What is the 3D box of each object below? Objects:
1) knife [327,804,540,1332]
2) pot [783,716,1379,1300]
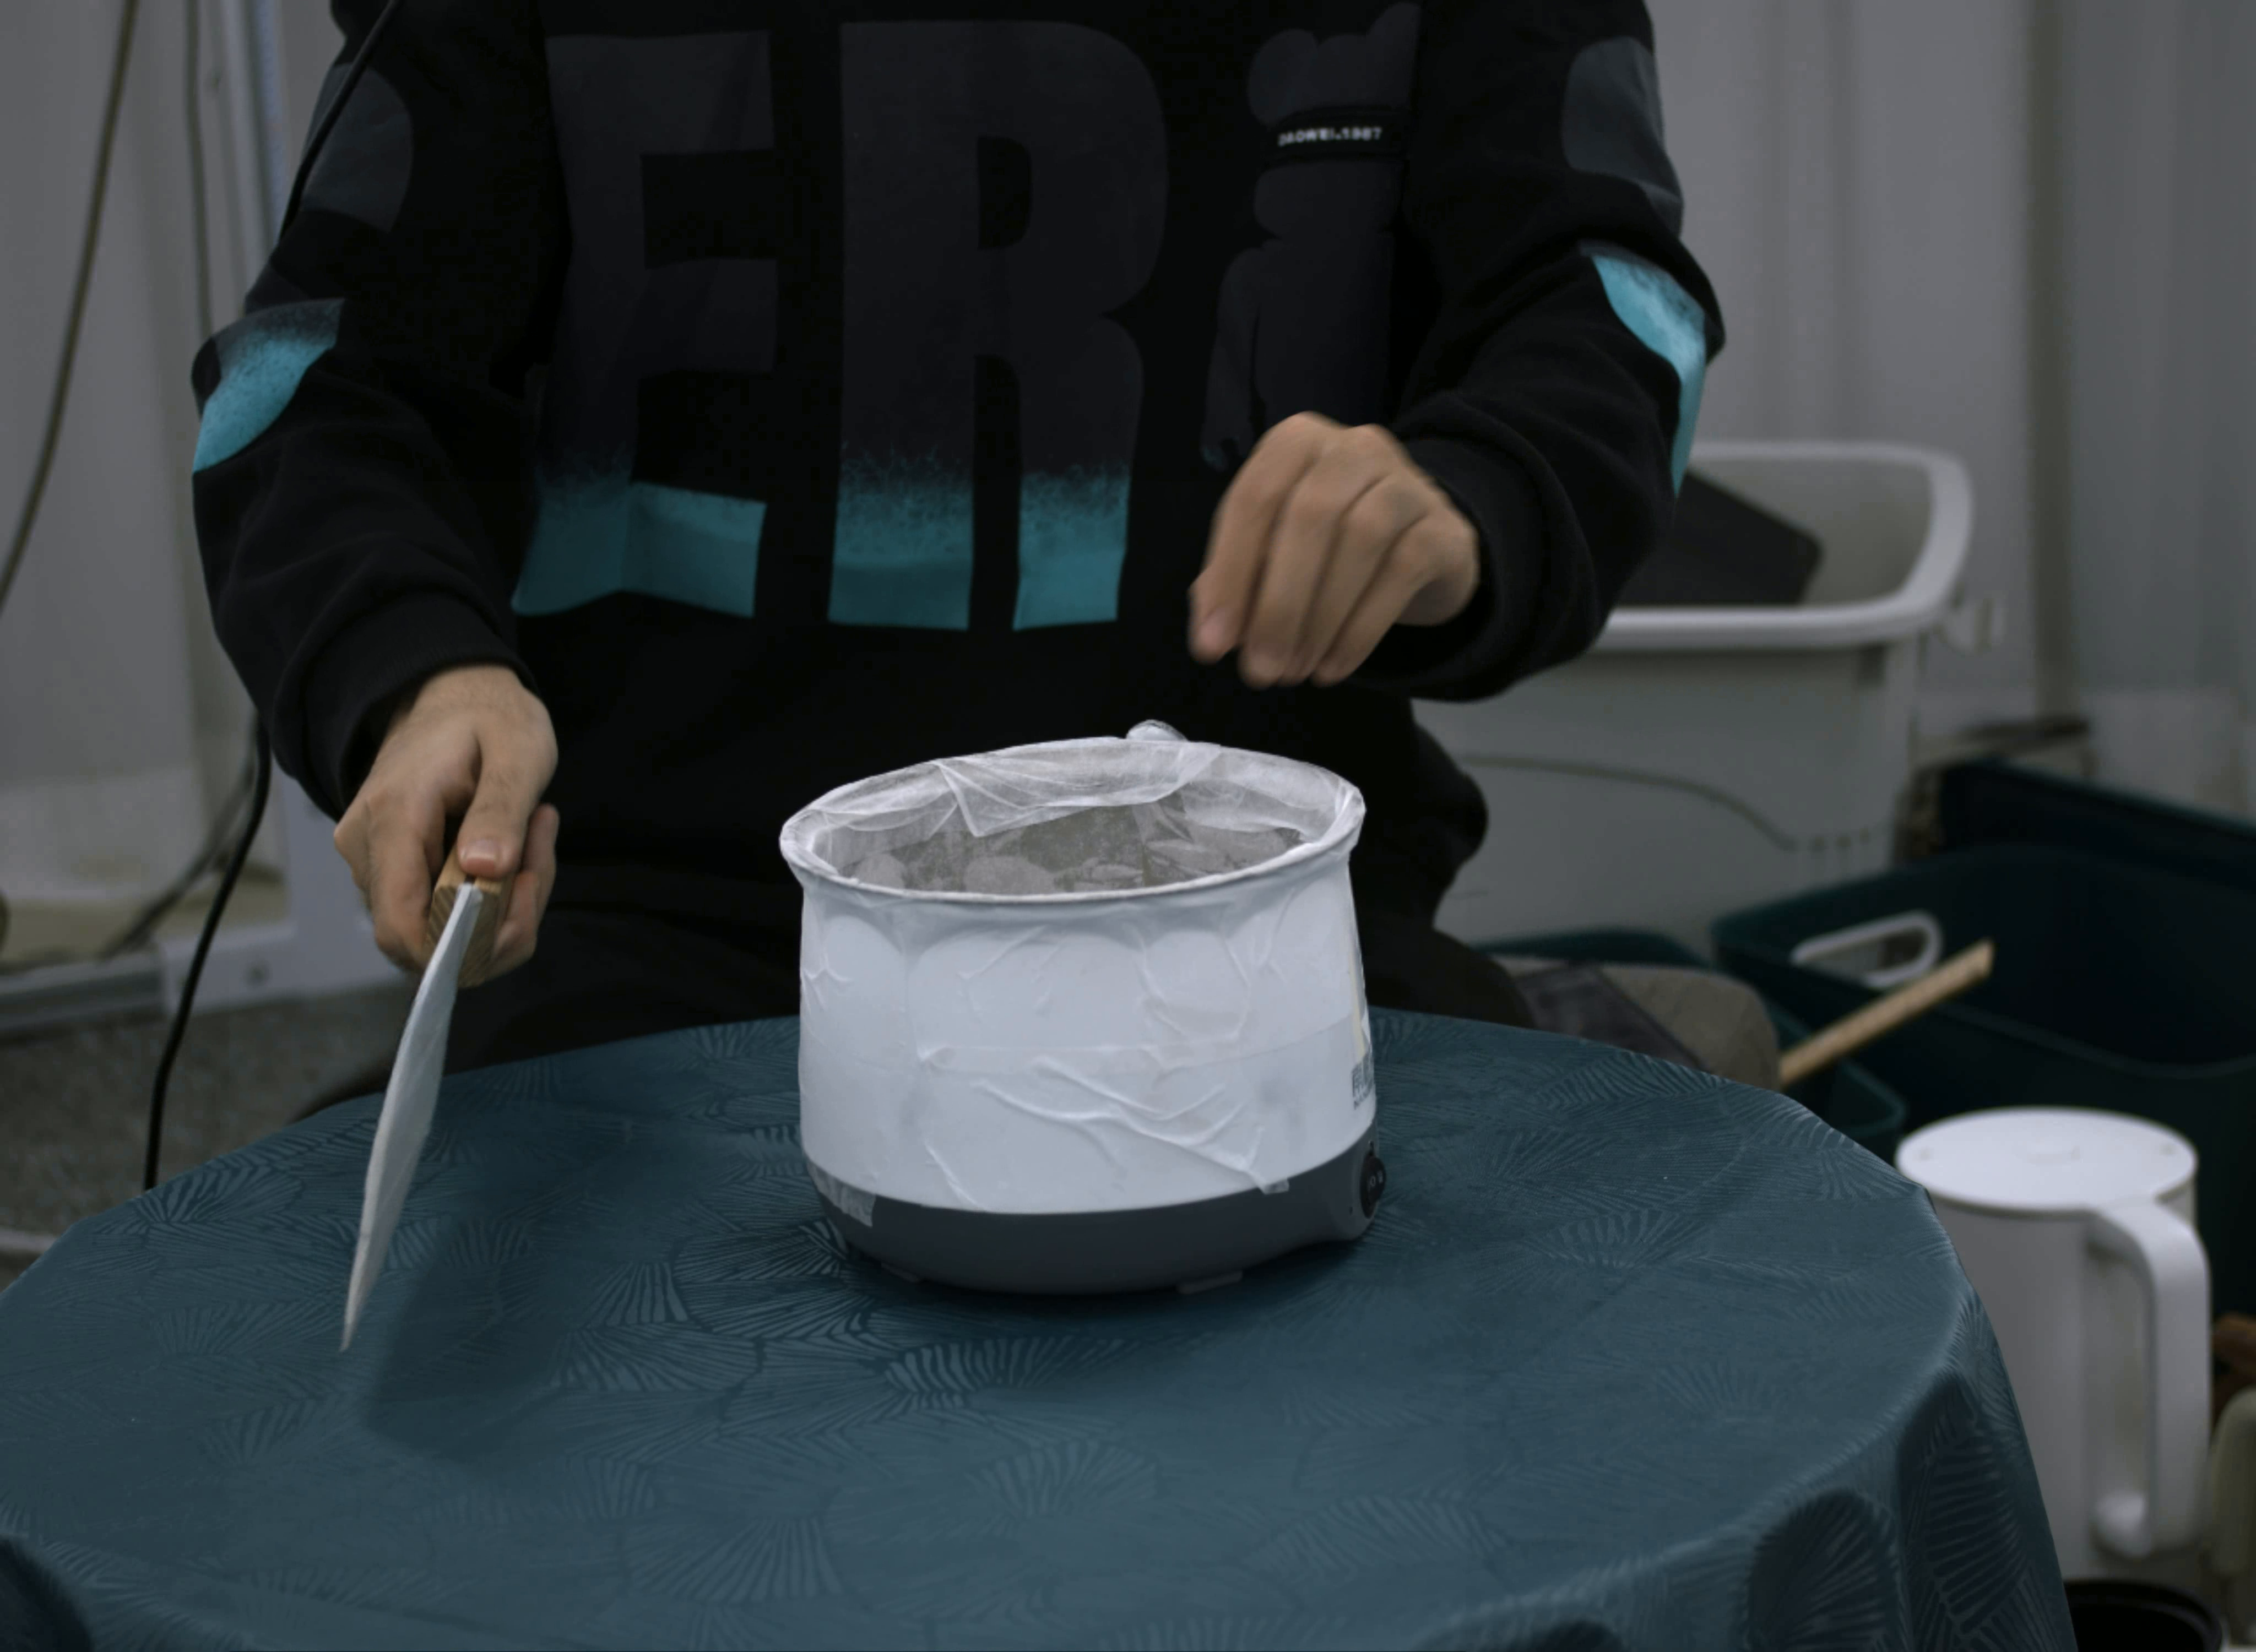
[{"bbox_3d":[-0.213,0.057,1.693,0.021,0.113,0.318,13,19,-3],"label":"knife"},{"bbox_3d":[-0.007,0.051,1.691,0.178,0.136,0.235,1,16,13],"label":"pot"}]
